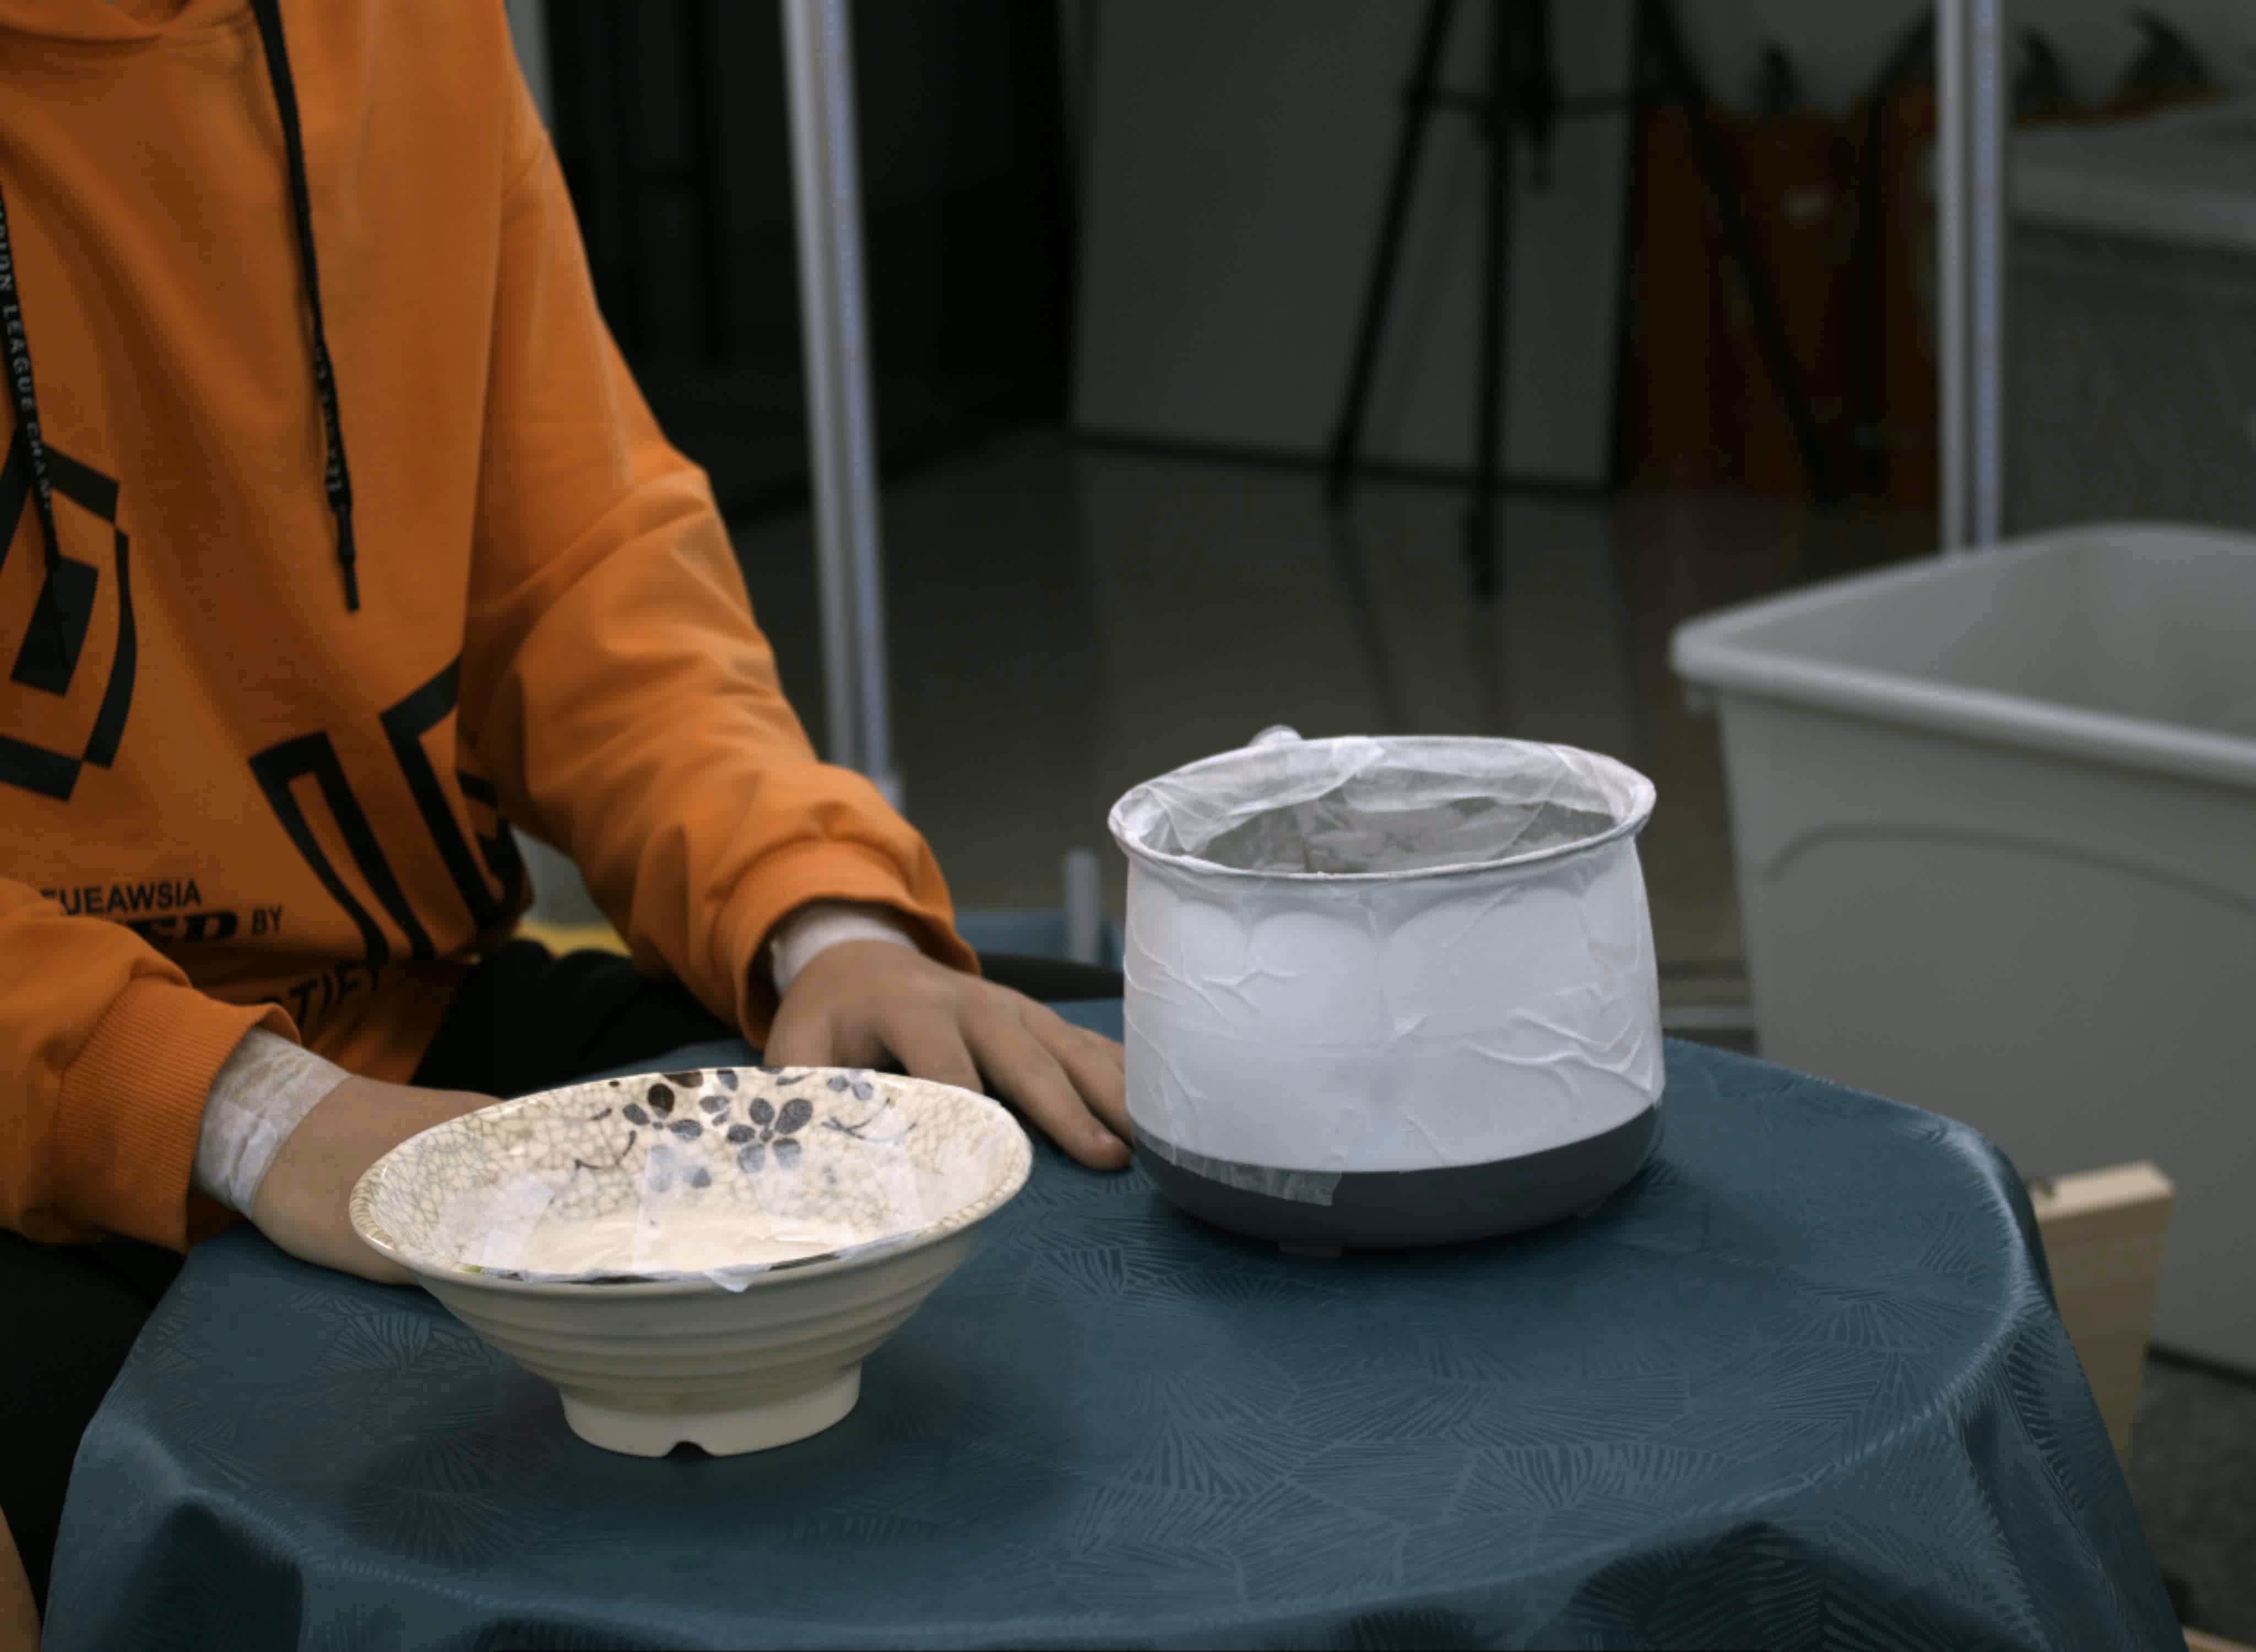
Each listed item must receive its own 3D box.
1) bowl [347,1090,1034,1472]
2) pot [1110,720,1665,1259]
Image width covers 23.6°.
[{"bbox_3d":[-0.123,0.139,1.585,0.201,0.079,0.204,-6,10,0],"label":"bowl"},{"bbox_3d":[0.075,0.047,1.761,0.175,0.138,0.236,-8,14,-17],"label":"pot"}]
